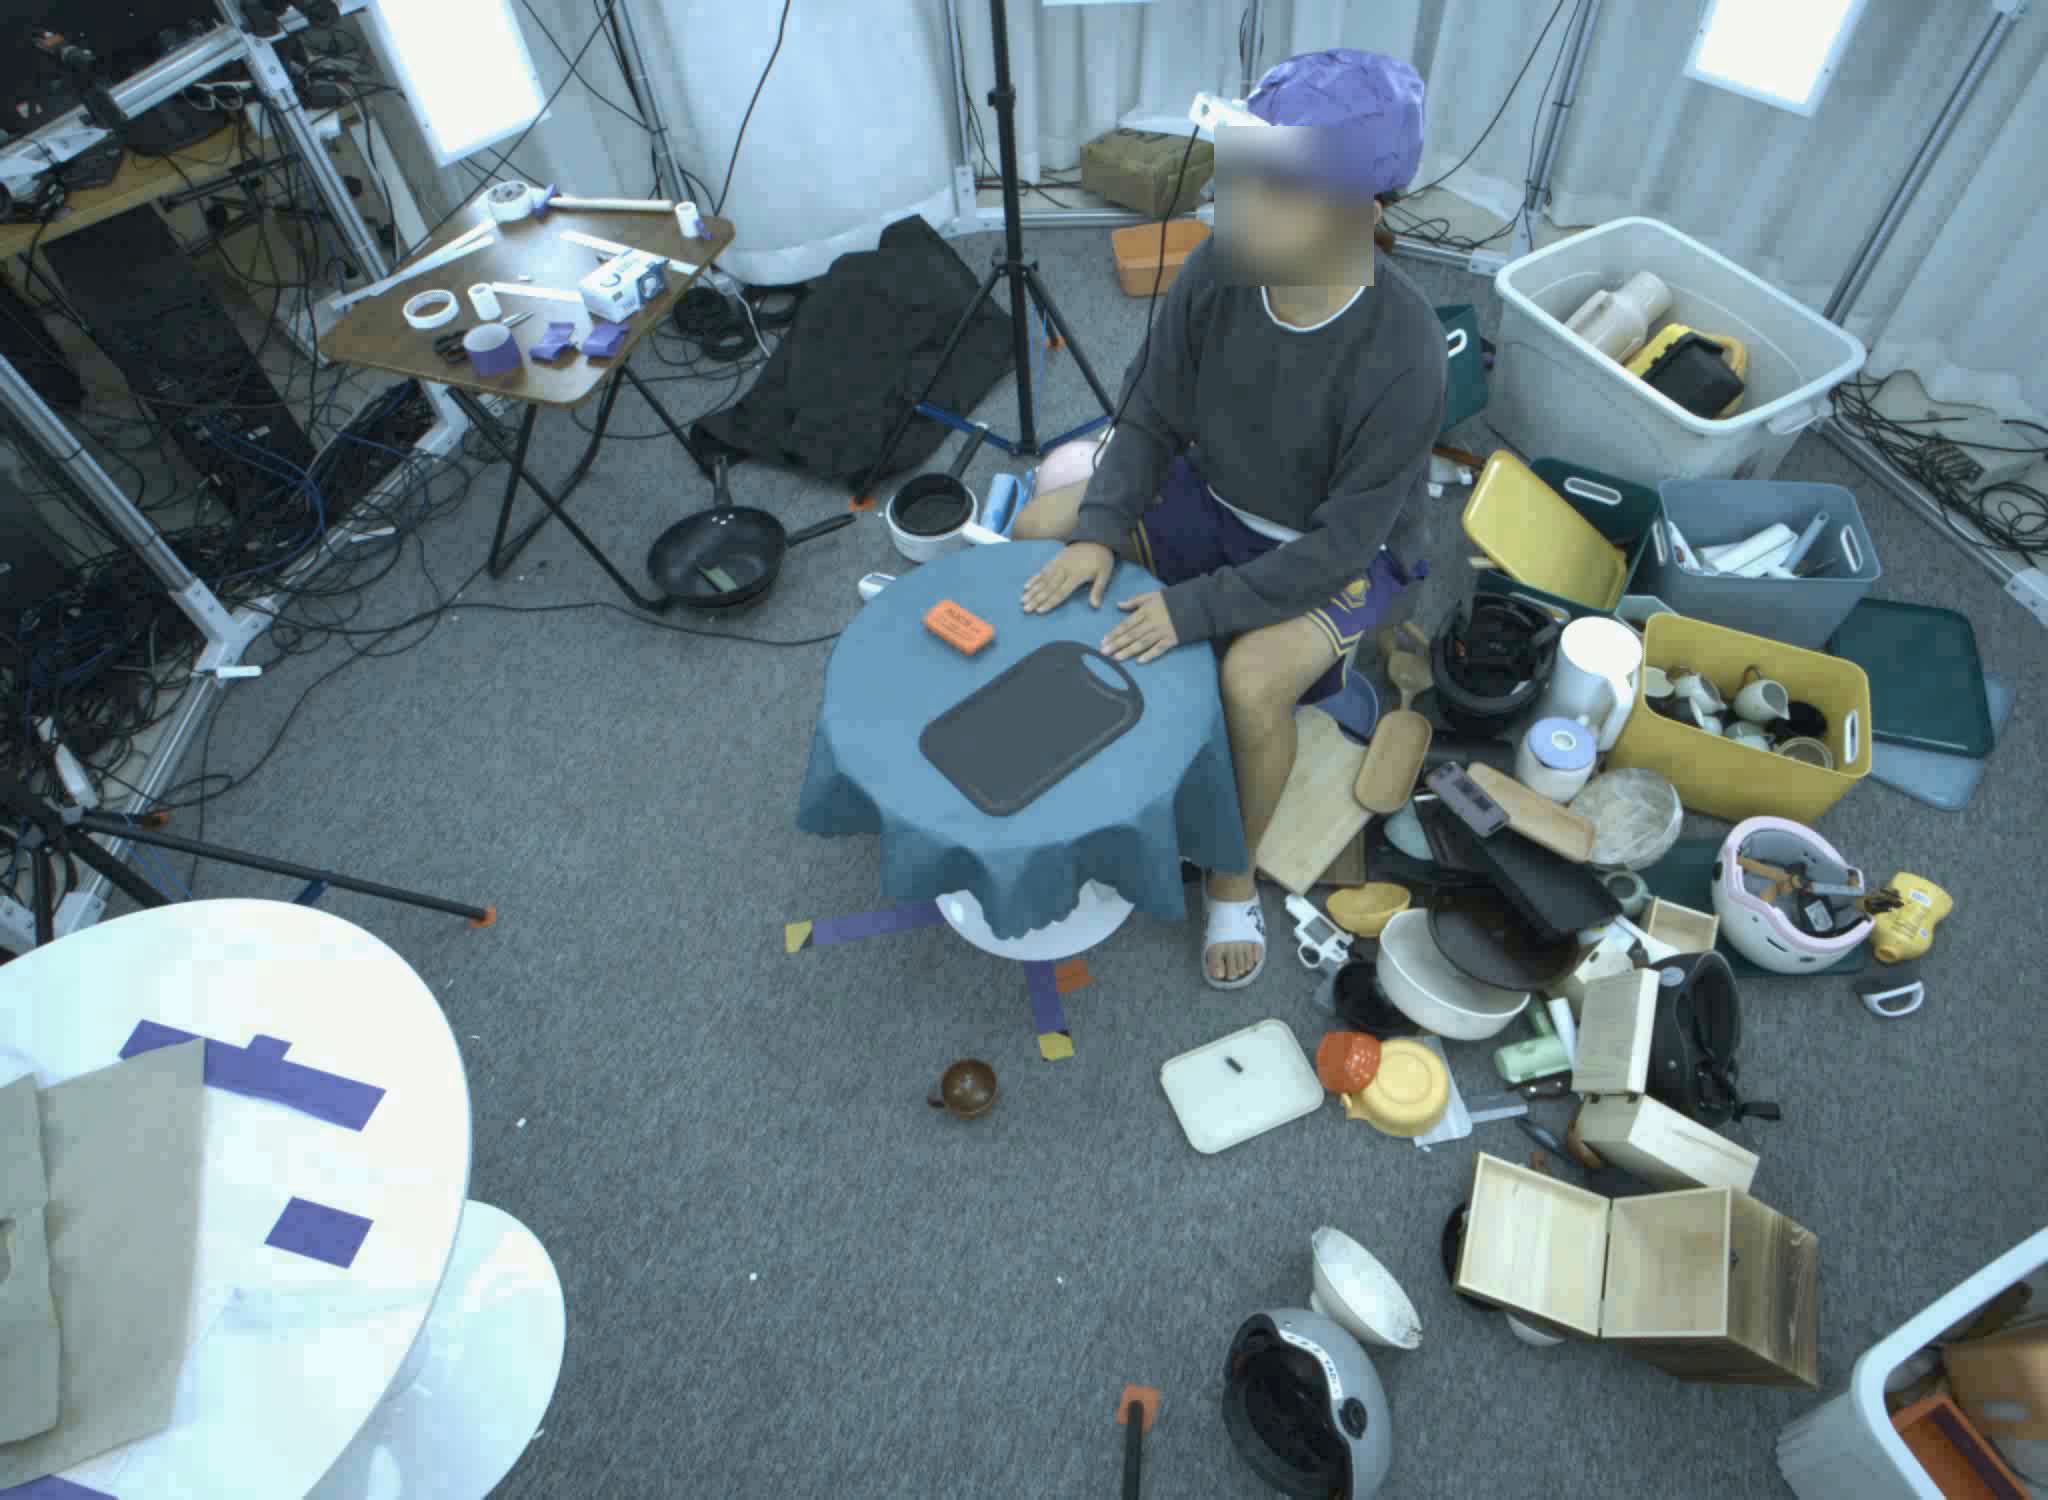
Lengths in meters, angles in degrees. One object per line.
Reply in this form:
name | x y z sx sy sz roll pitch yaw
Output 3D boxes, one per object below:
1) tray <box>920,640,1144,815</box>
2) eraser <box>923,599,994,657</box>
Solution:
tray | 0.018 -0.046 1.818 0.328 0.010 0.207 -36 61 -21
eraser | -0.102 -0.191 1.911 0.106 0.023 0.059 34 64 22
